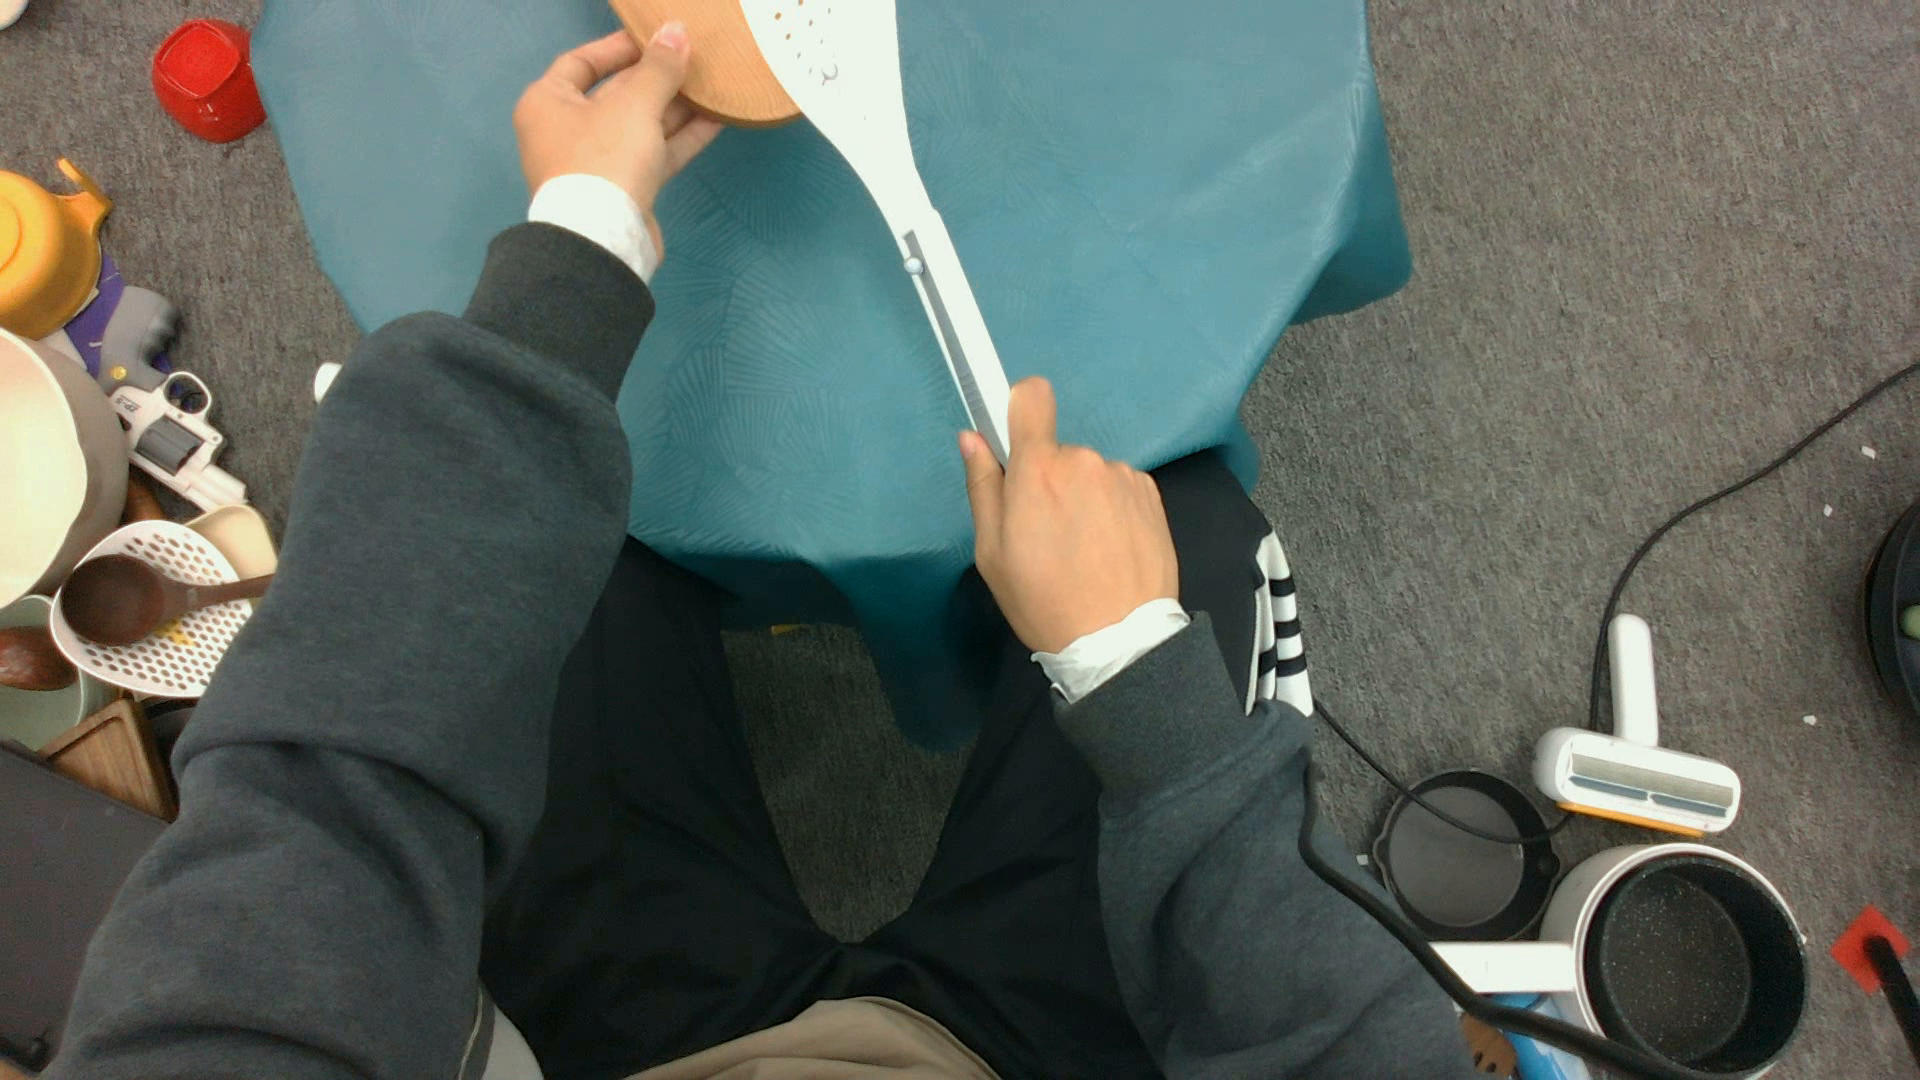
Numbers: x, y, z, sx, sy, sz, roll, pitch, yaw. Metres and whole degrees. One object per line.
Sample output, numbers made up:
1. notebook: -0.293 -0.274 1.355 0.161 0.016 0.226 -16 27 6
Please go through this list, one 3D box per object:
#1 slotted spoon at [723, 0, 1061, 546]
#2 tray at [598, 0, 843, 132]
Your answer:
1. slotted spoon: -0.033 -0.158 0.618 0.046 0.135 0.349 -22 94 -23
2. tray: -0.143 -0.299 0.674 0.102 0.020 0.231 -34 88 -19
